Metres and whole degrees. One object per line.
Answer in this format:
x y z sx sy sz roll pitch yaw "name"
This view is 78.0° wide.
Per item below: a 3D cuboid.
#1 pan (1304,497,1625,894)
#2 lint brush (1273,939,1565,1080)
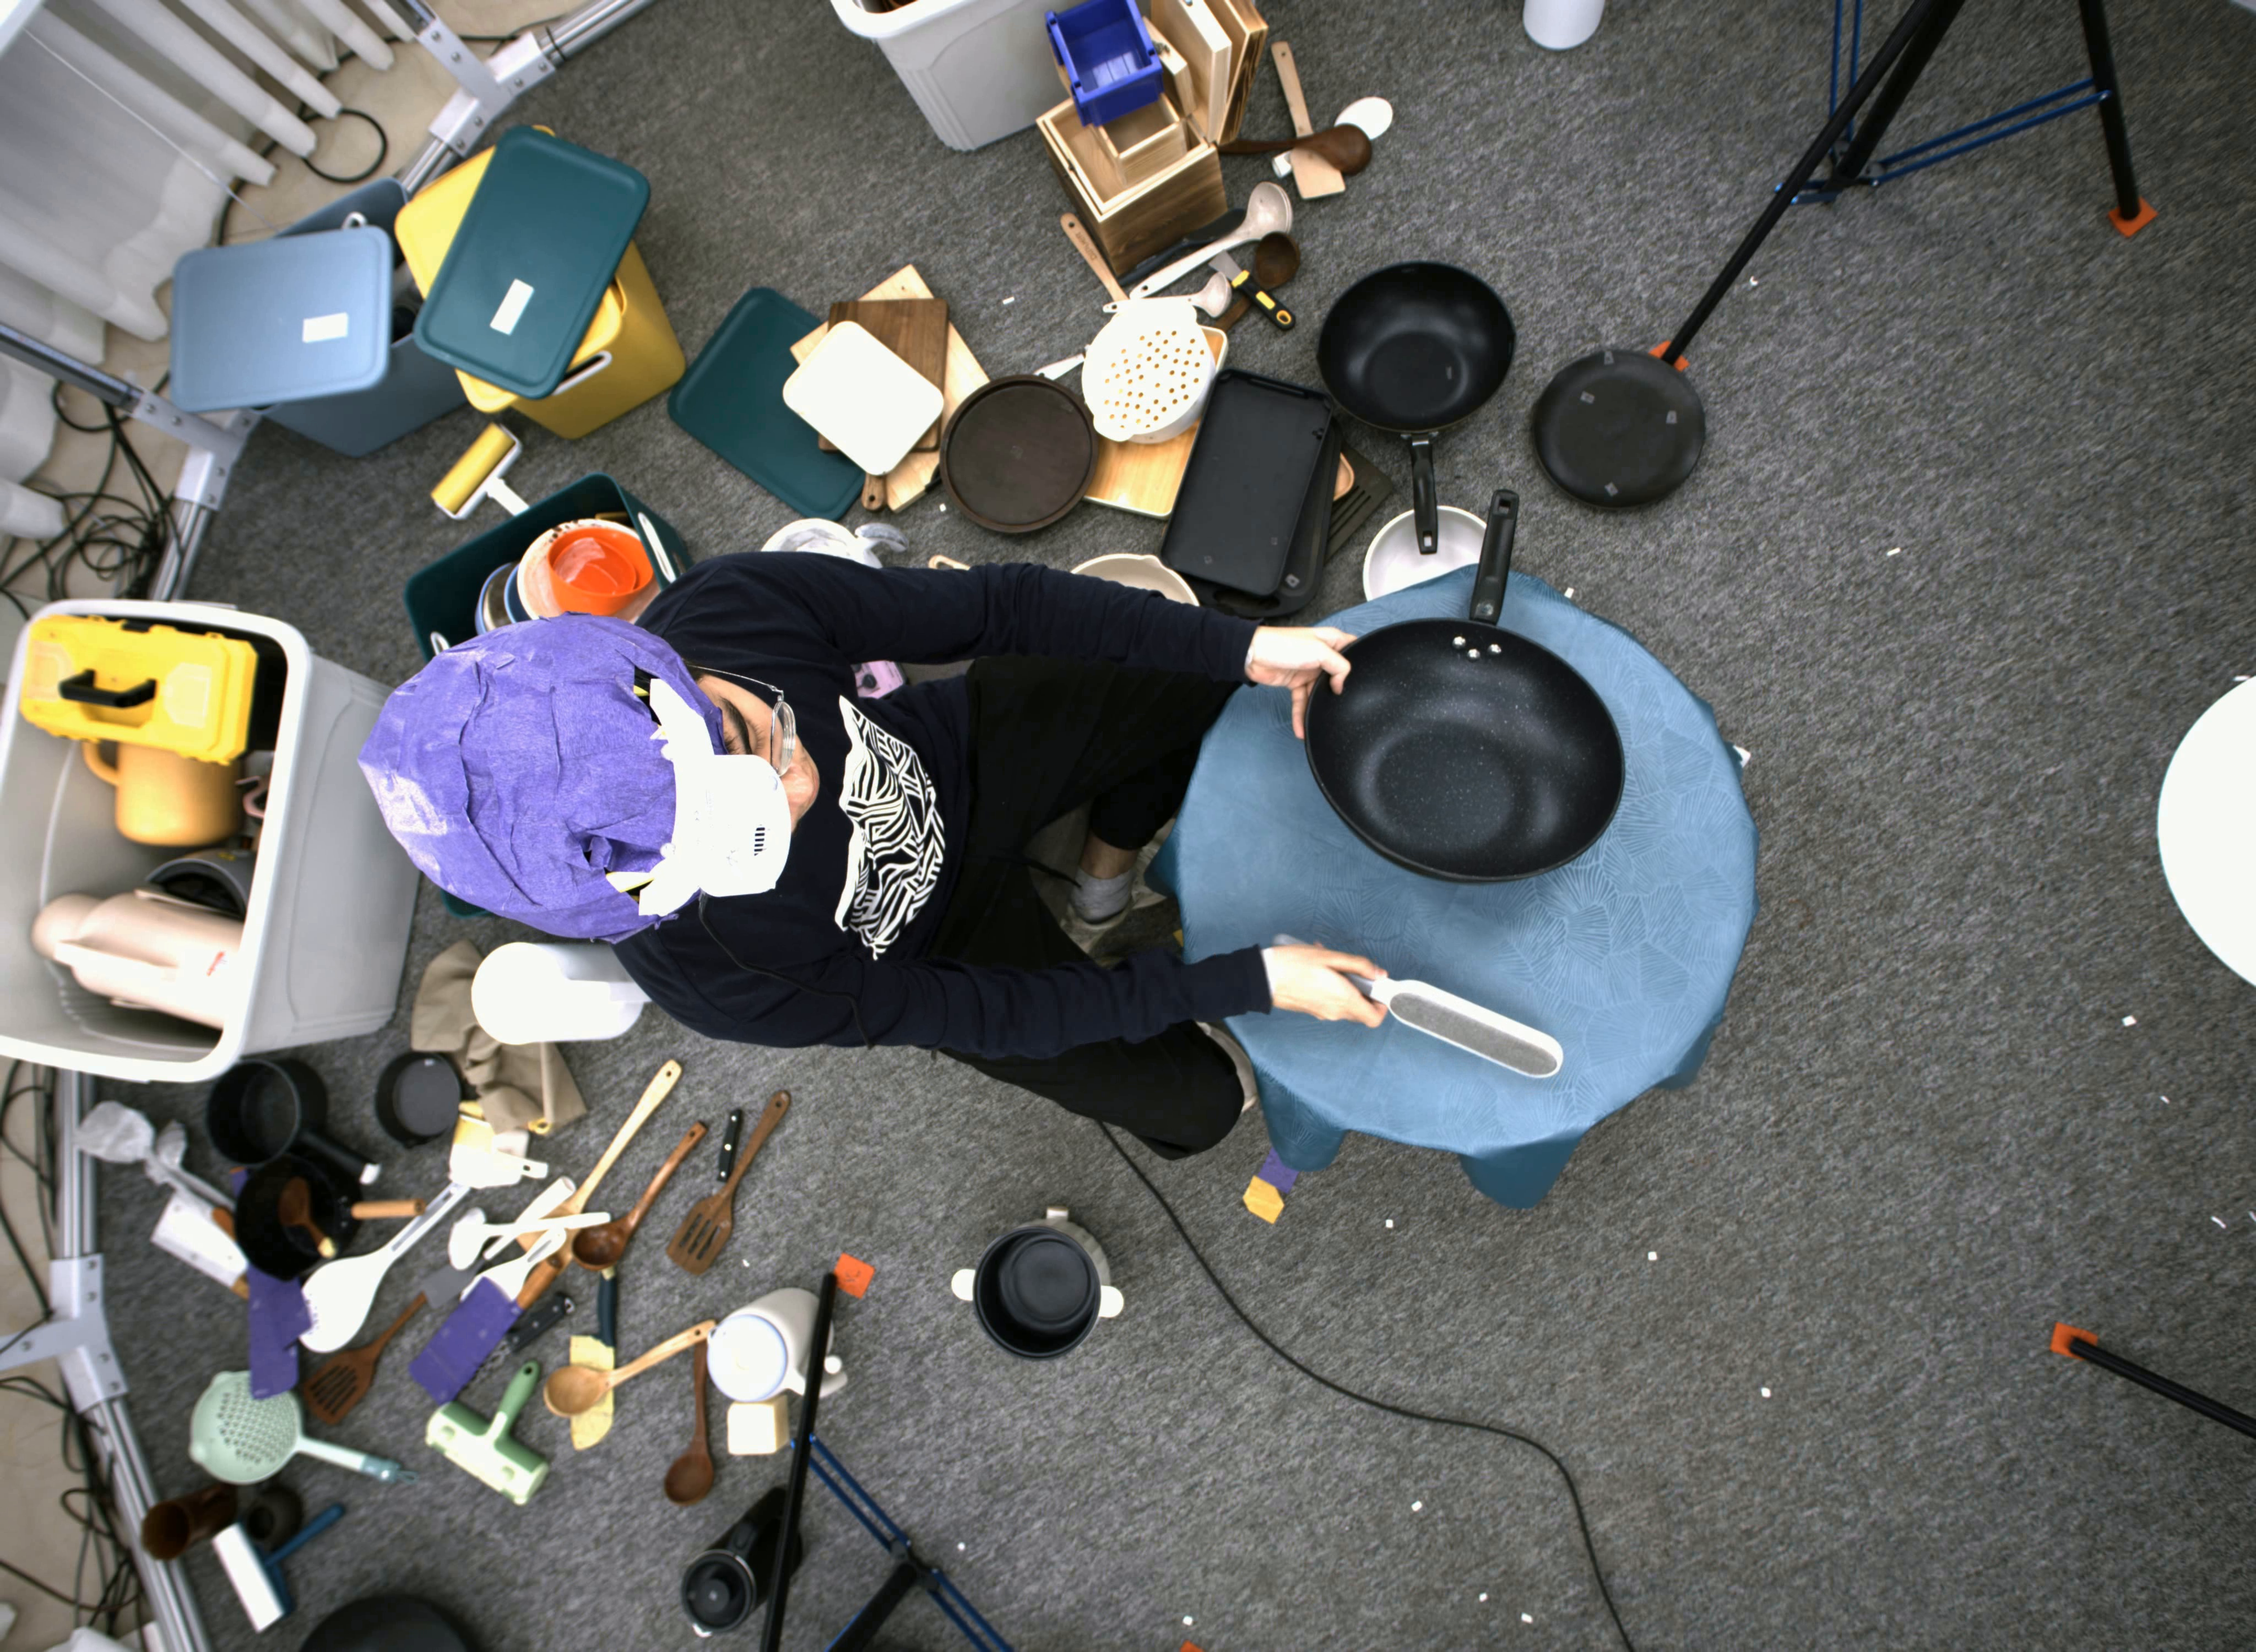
0.340 -0.130 1.372 0.310 0.114 0.465 14 60 5 "pan"
0.290 0.180 1.389 0.309 0.061 0.020 22 49 8 "lint brush"
